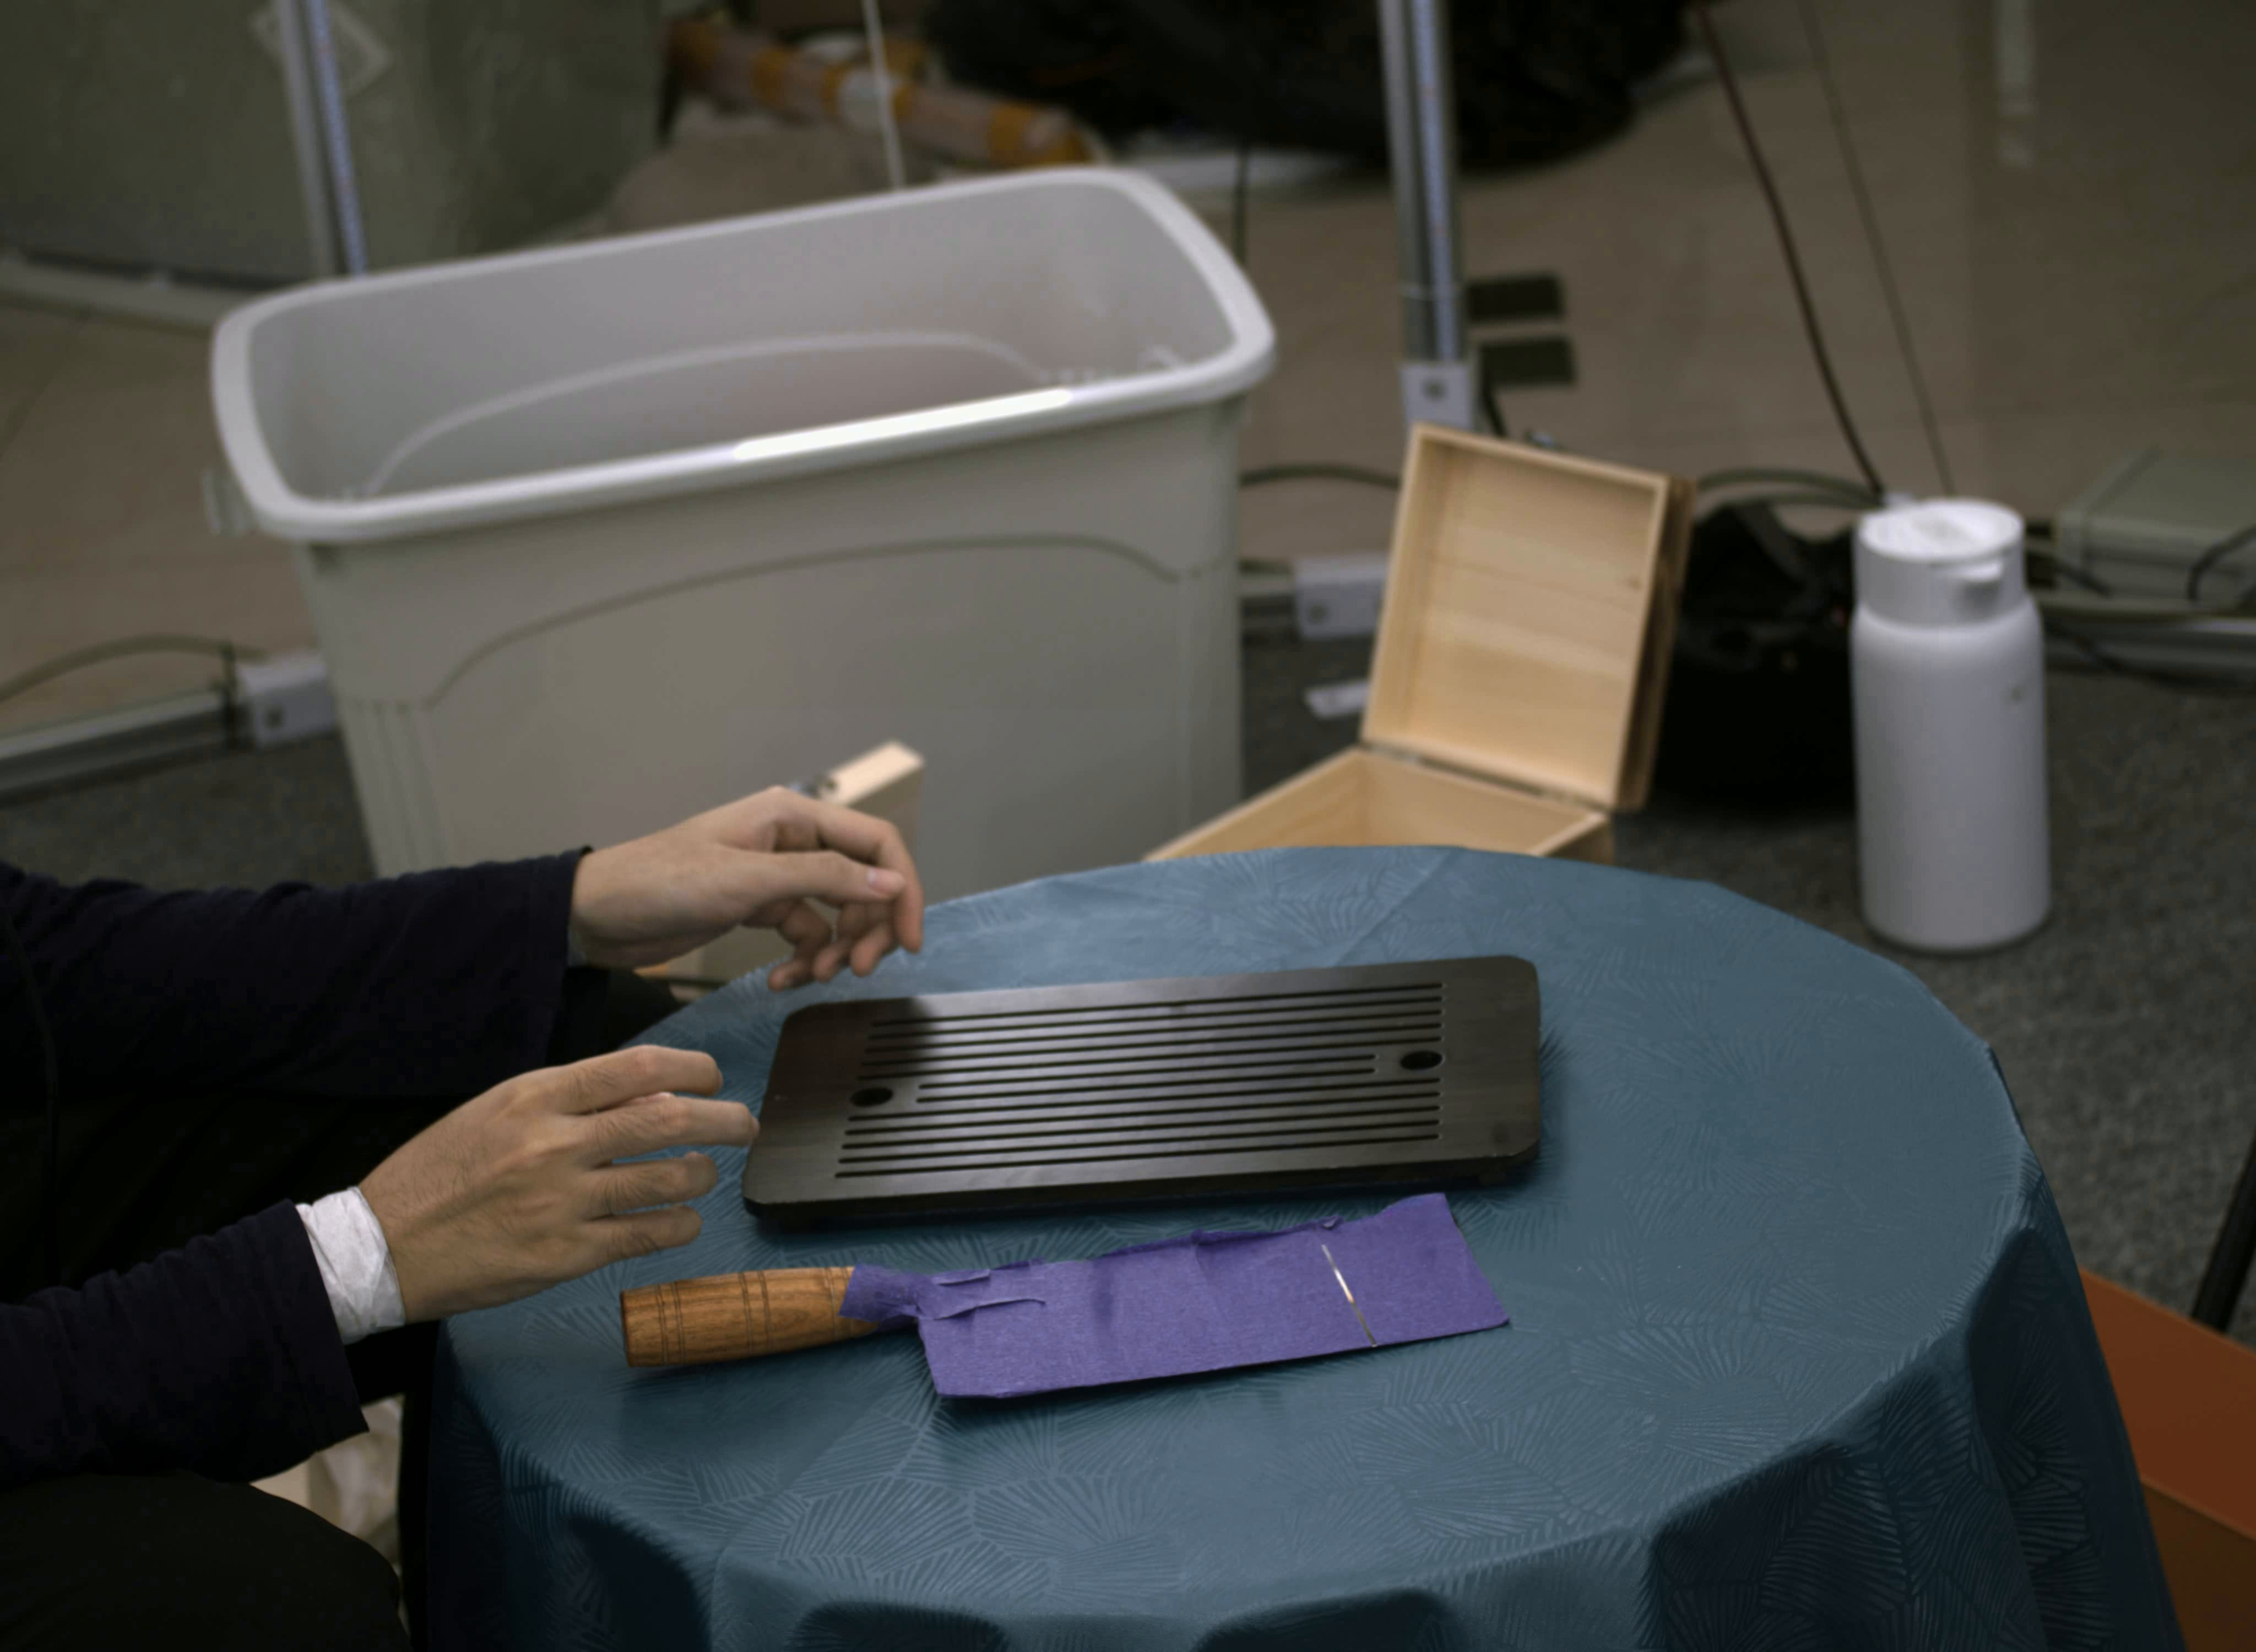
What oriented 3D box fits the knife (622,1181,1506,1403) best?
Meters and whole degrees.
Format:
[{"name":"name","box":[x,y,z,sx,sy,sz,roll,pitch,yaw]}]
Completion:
[{"name":"knife","box":[-0.023,0.174,2.049,0.314,0.033,0.102,-9,25,-7]}]

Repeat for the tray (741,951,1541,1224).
[{"name":"tray","box":[0.008,0.102,2.207,0.305,0.019,0.167,-4,25,6]}]
